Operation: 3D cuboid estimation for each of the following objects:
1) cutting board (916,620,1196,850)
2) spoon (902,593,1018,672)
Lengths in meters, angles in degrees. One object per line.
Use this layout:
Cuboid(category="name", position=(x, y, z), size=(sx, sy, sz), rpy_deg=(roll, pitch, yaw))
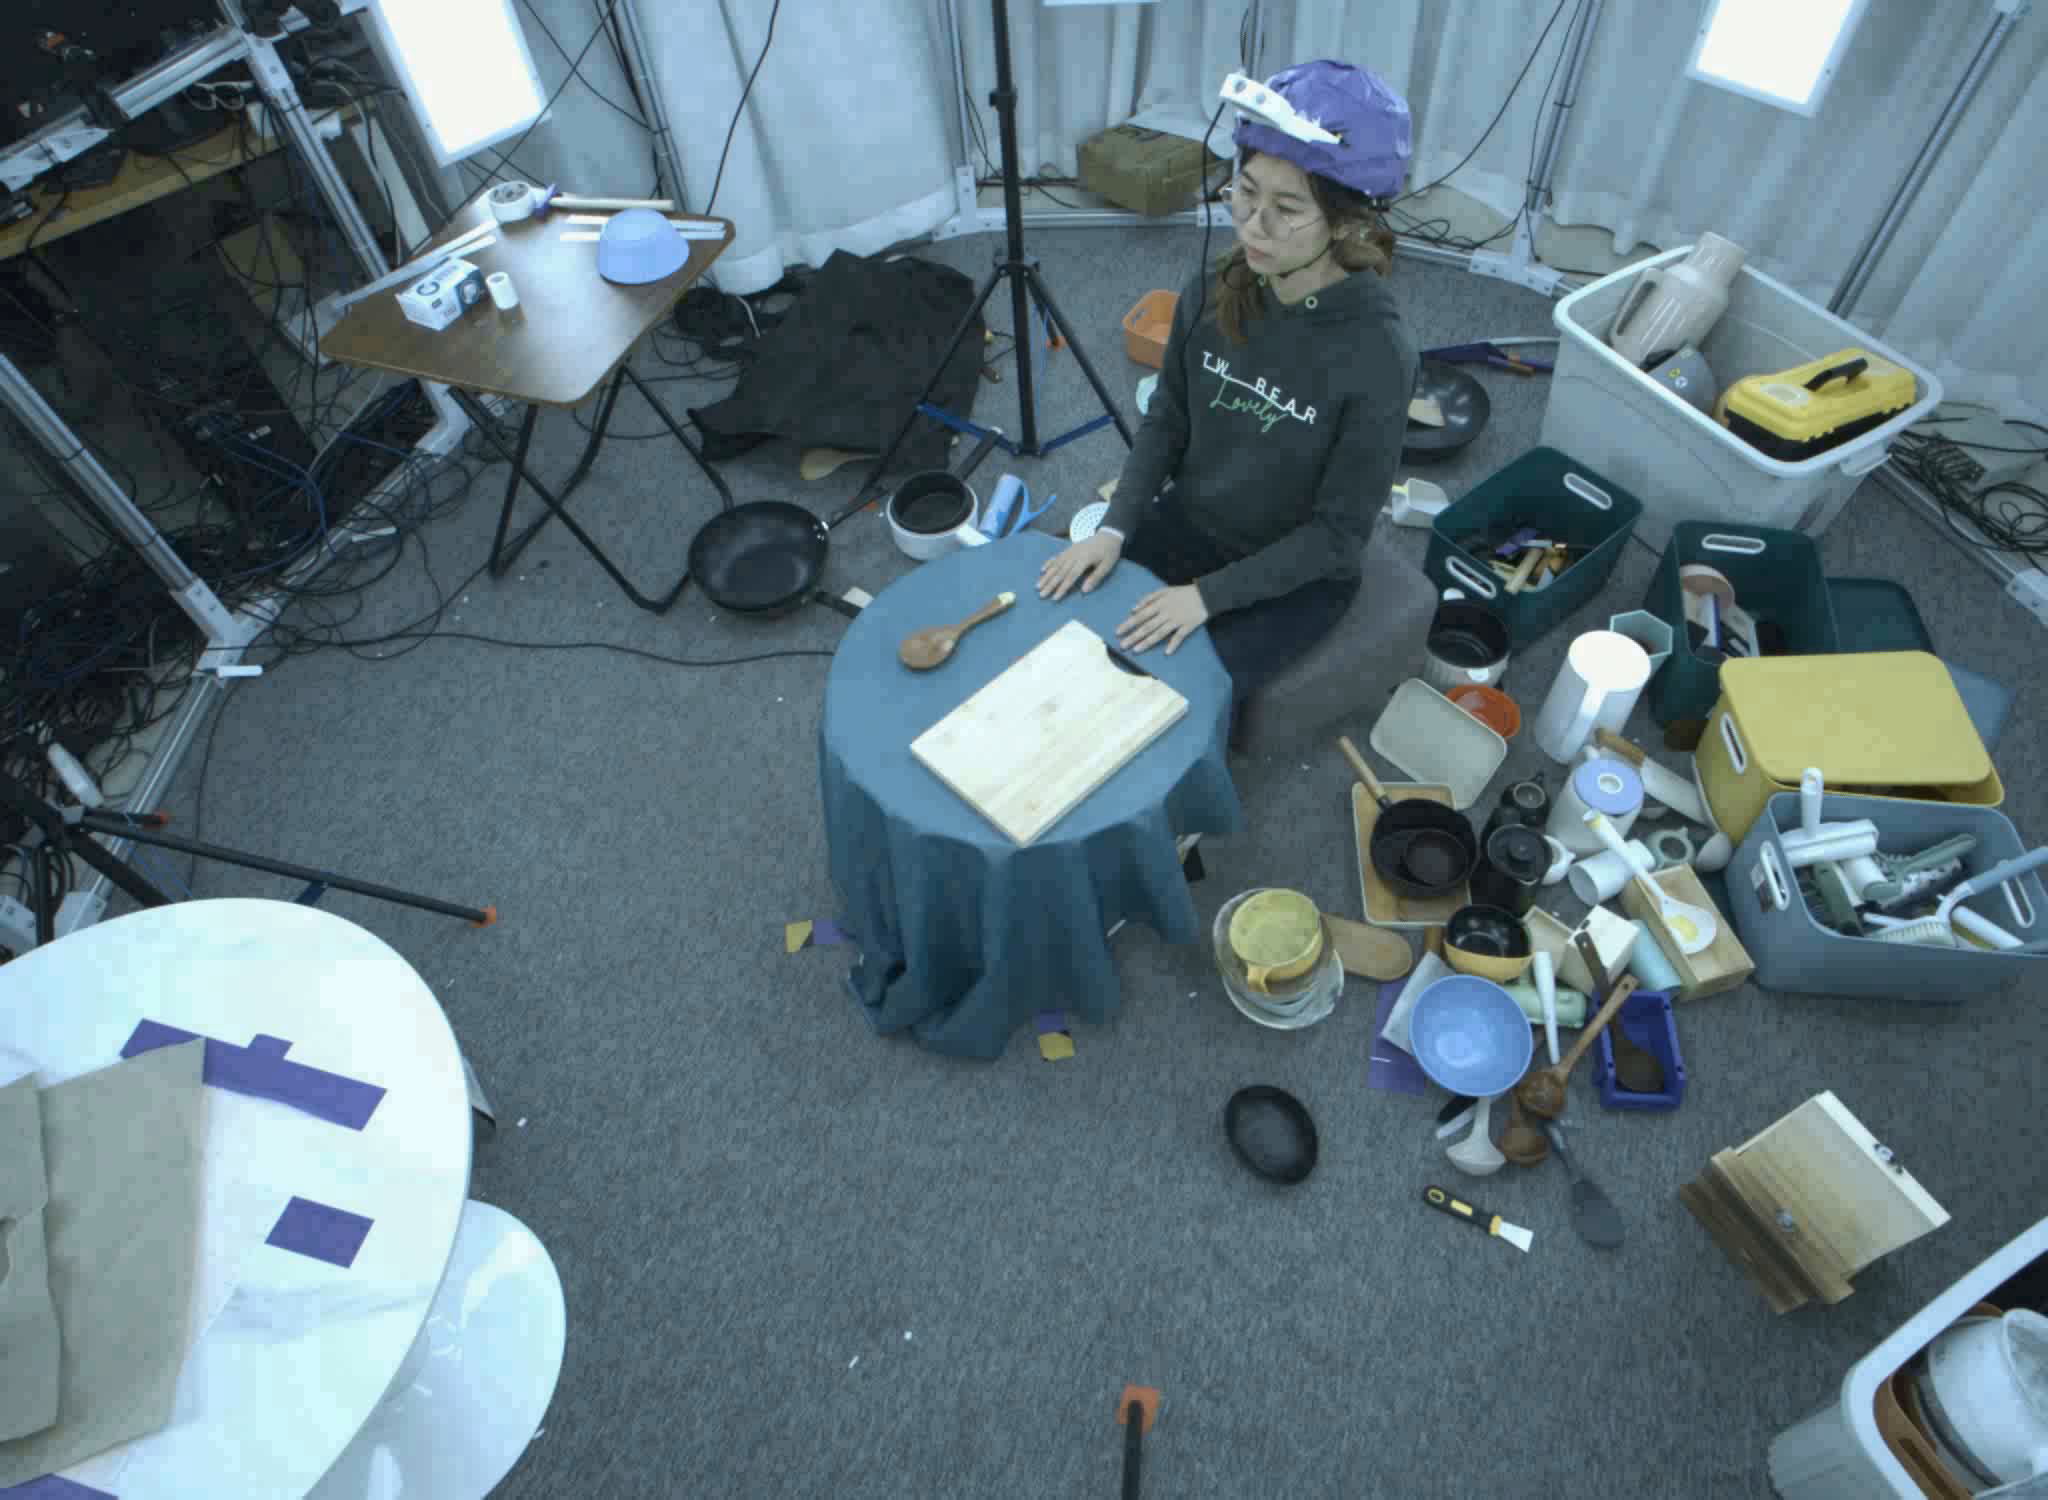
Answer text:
Cuboid(category="cutting board", position=(0.046, -0.032, 1.809), size=(0.246, 0.024, 0.351), rpy_deg=(39, 64, 24))
Cuboid(category="spoon", position=(-0.097, -0.185, 1.920), size=(0.217, 0.017, 0.074), rpy_deg=(-35, 59, -20))
